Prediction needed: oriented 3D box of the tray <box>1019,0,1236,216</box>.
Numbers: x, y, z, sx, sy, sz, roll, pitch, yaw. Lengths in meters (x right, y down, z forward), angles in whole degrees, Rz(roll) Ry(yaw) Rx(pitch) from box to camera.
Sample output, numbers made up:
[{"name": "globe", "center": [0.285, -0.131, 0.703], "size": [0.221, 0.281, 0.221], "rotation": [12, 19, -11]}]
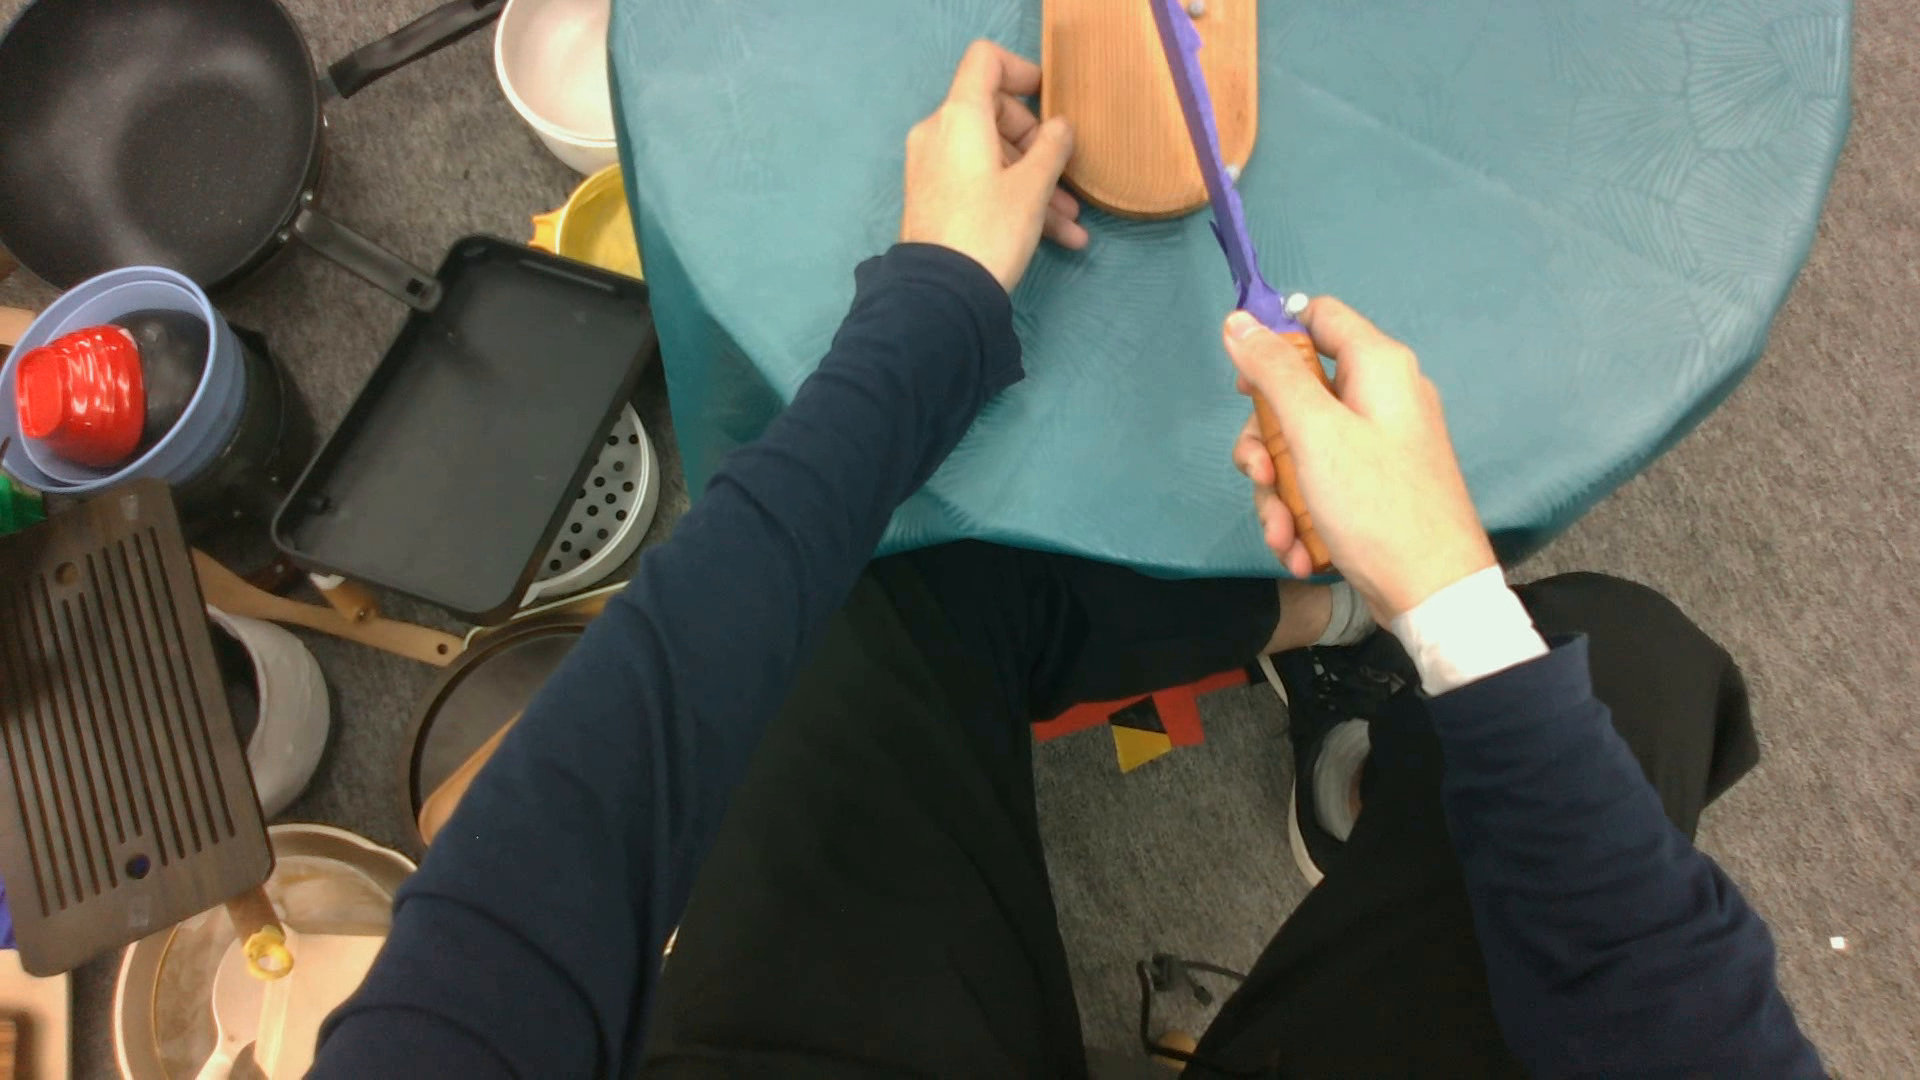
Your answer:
[{"name": "tray", "center": [0.079, -0.263, 0.663], "size": [0.102, 0.020, 0.231], "rotation": [0, 79, -2]}]

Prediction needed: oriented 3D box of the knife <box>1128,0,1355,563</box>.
[{"name": "knife", "center": [0.107, -0.138, 0.575], "size": [0.032, 0.104, 0.316], "rotation": [-15, 75, 11]}]
